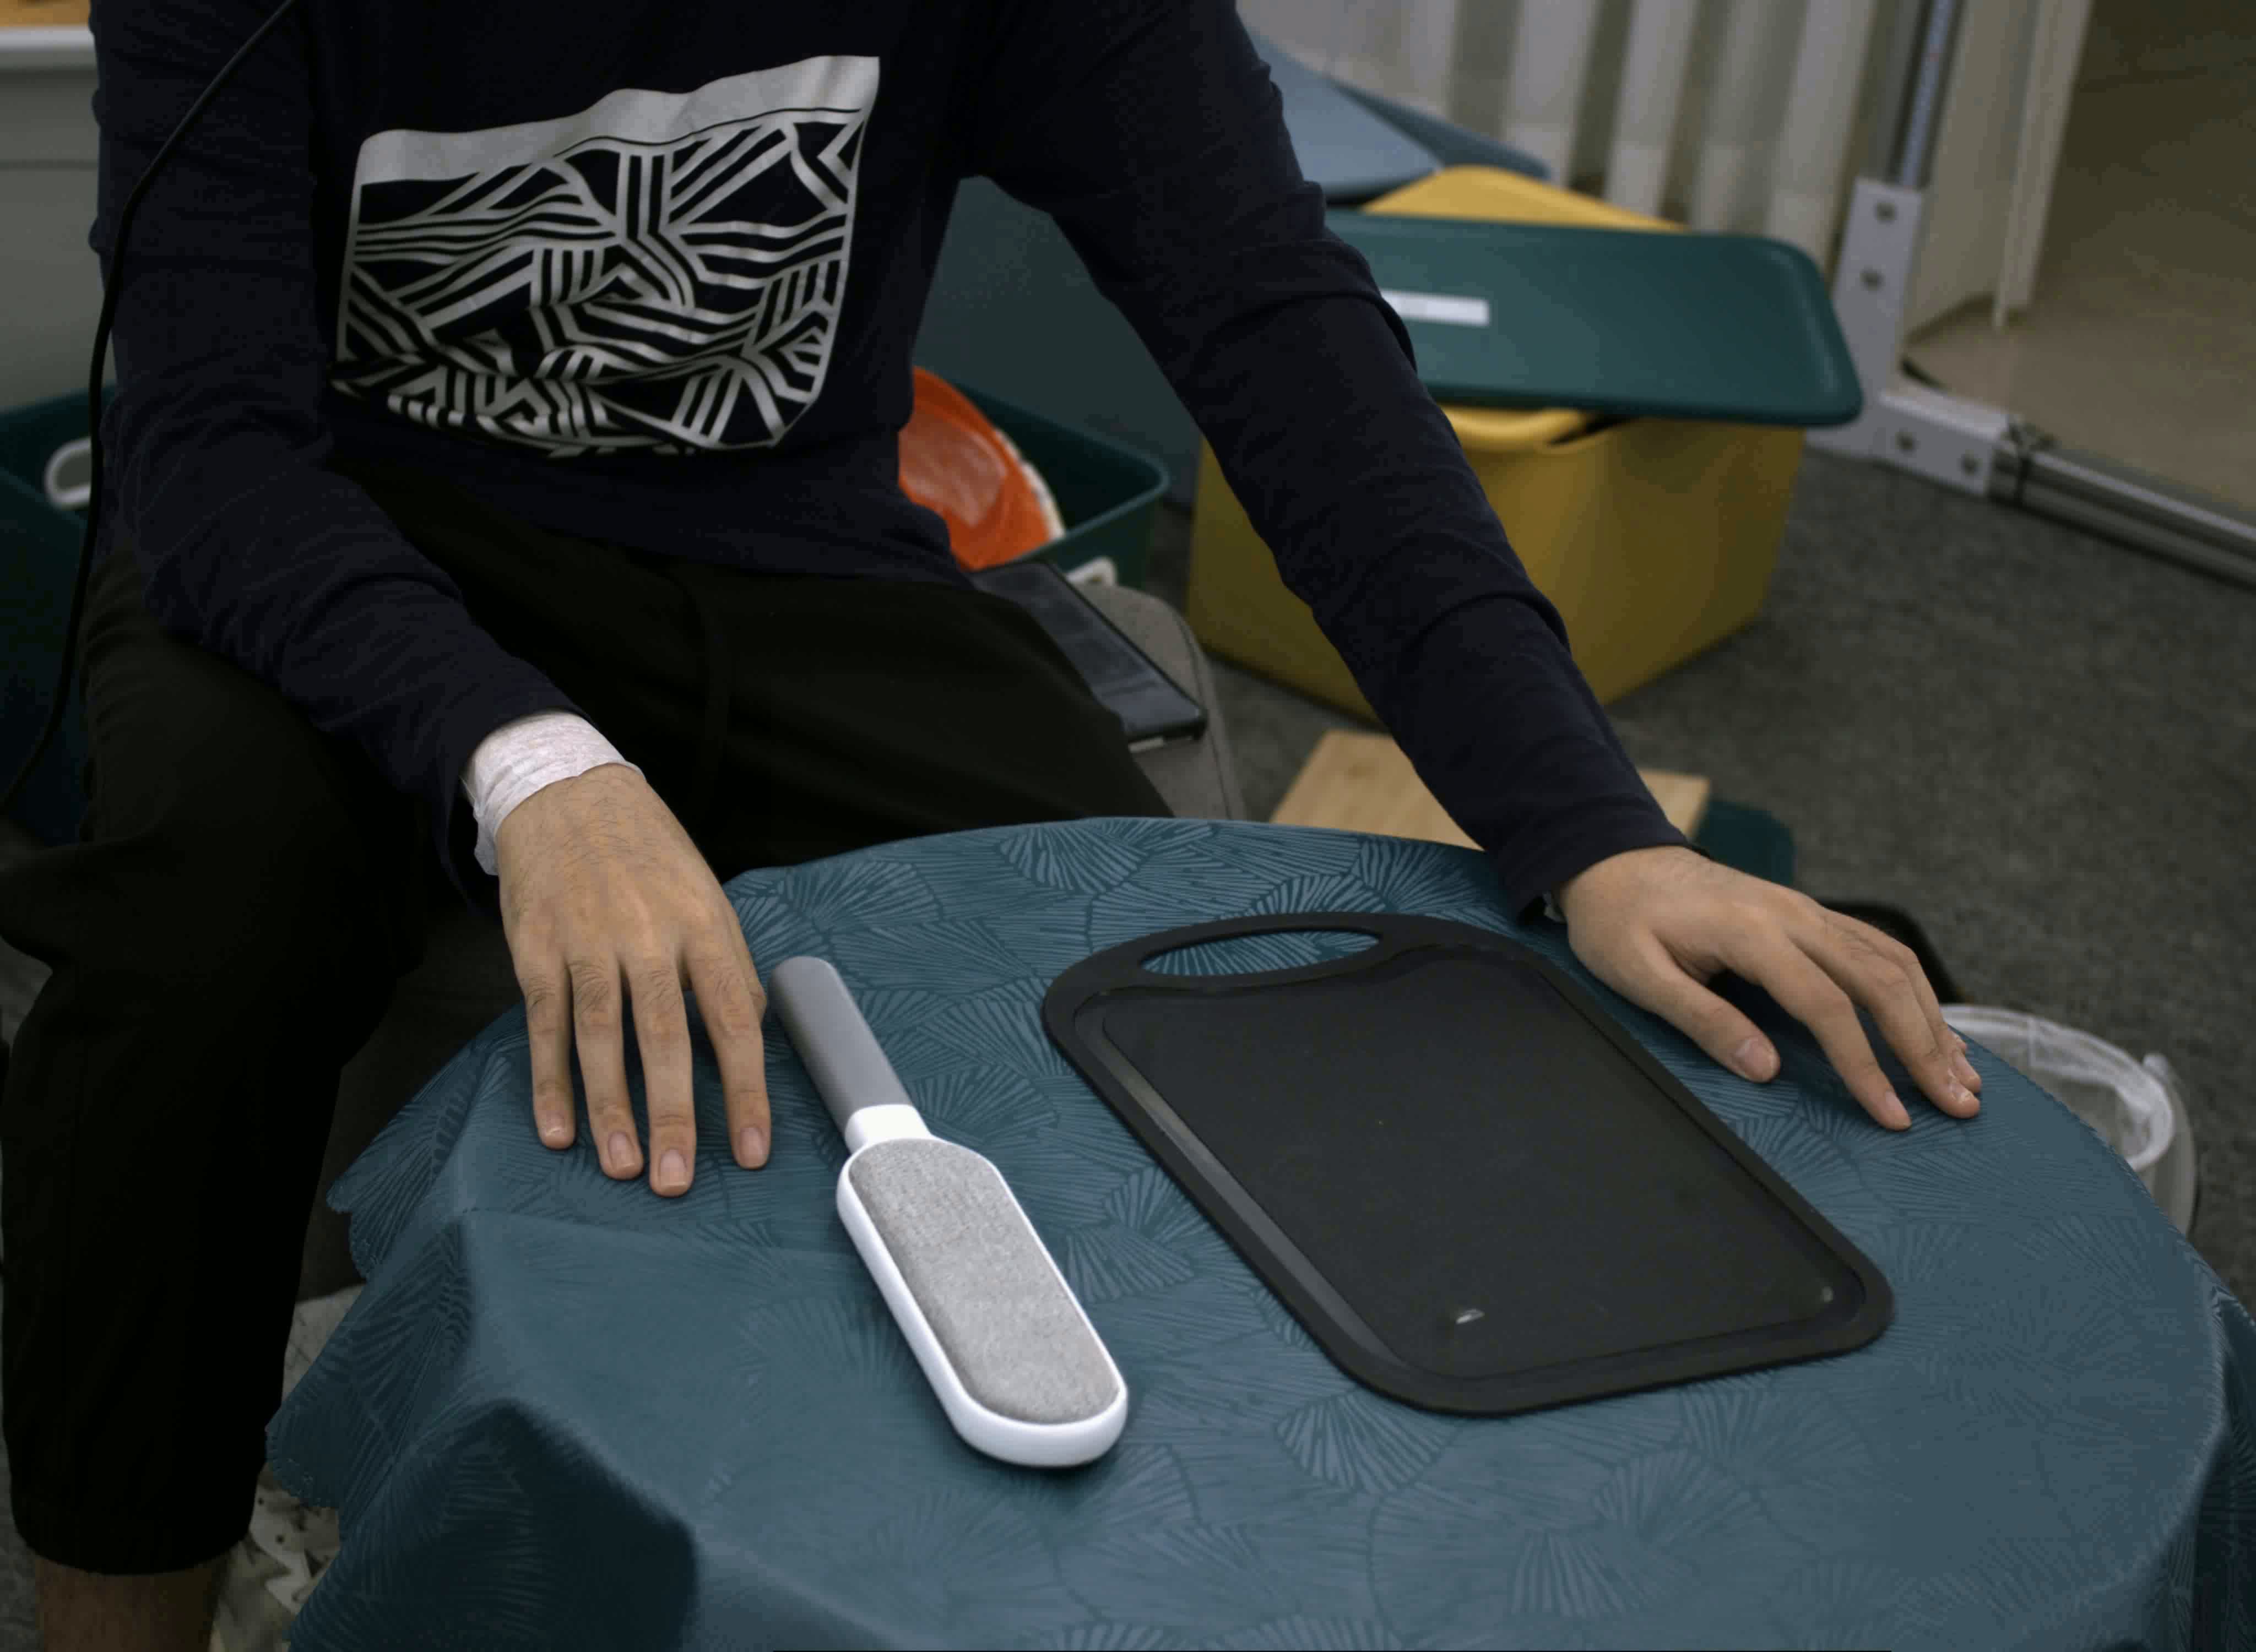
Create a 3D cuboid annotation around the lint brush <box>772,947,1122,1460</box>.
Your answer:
[{"bbox_3d":[-0.068,0.120,1.768,0.060,0.021,0.311,-8,30,-16],"label":"lint brush"}]

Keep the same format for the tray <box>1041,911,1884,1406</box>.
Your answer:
[{"bbox_3d":[0.107,0.106,1.857,0.210,0.010,0.328,-6,29,-25],"label":"tray"}]
